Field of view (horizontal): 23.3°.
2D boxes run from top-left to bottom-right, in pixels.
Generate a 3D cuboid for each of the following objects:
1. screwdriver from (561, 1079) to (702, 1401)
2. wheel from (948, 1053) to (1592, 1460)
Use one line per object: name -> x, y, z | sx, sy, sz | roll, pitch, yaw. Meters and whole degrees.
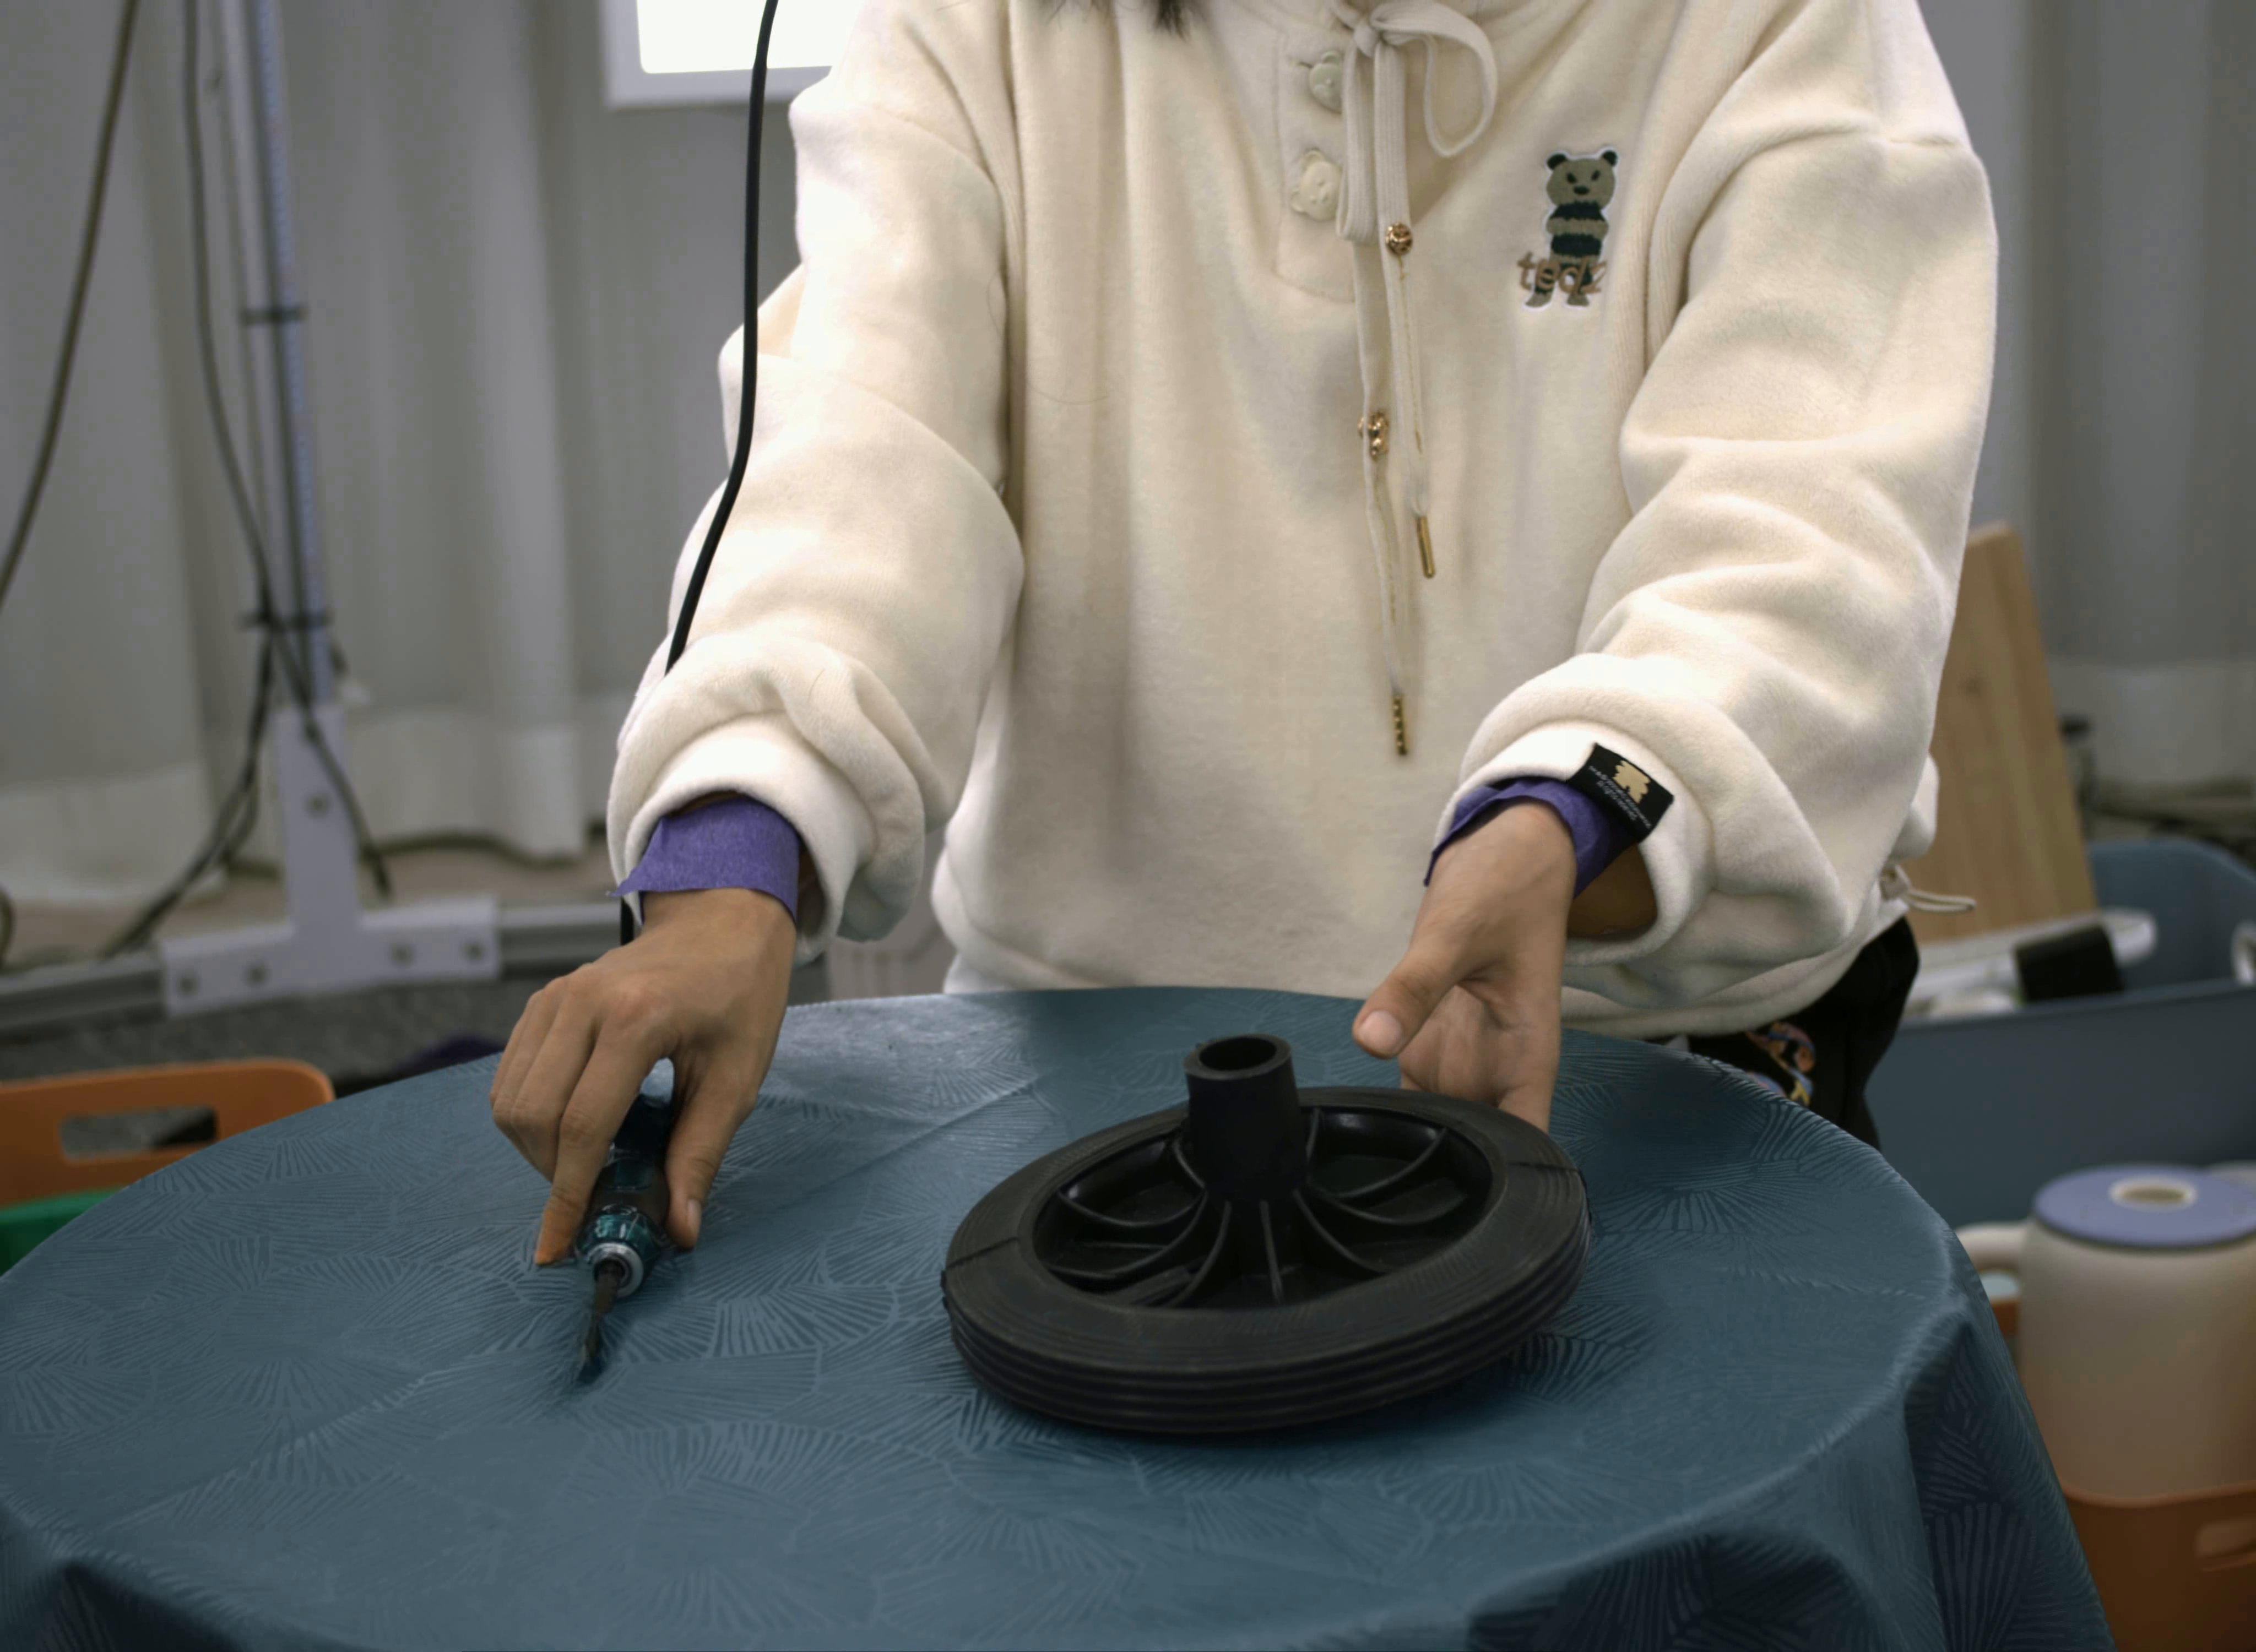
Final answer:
screwdriver -> -0.154, 0.127, 1.650 | 0.033, 0.033, 0.192 | -1, 22, 5
wheel -> 0.037, 0.108, 1.569 | 0.188, 0.078, 0.190 | 5, 27, 33
